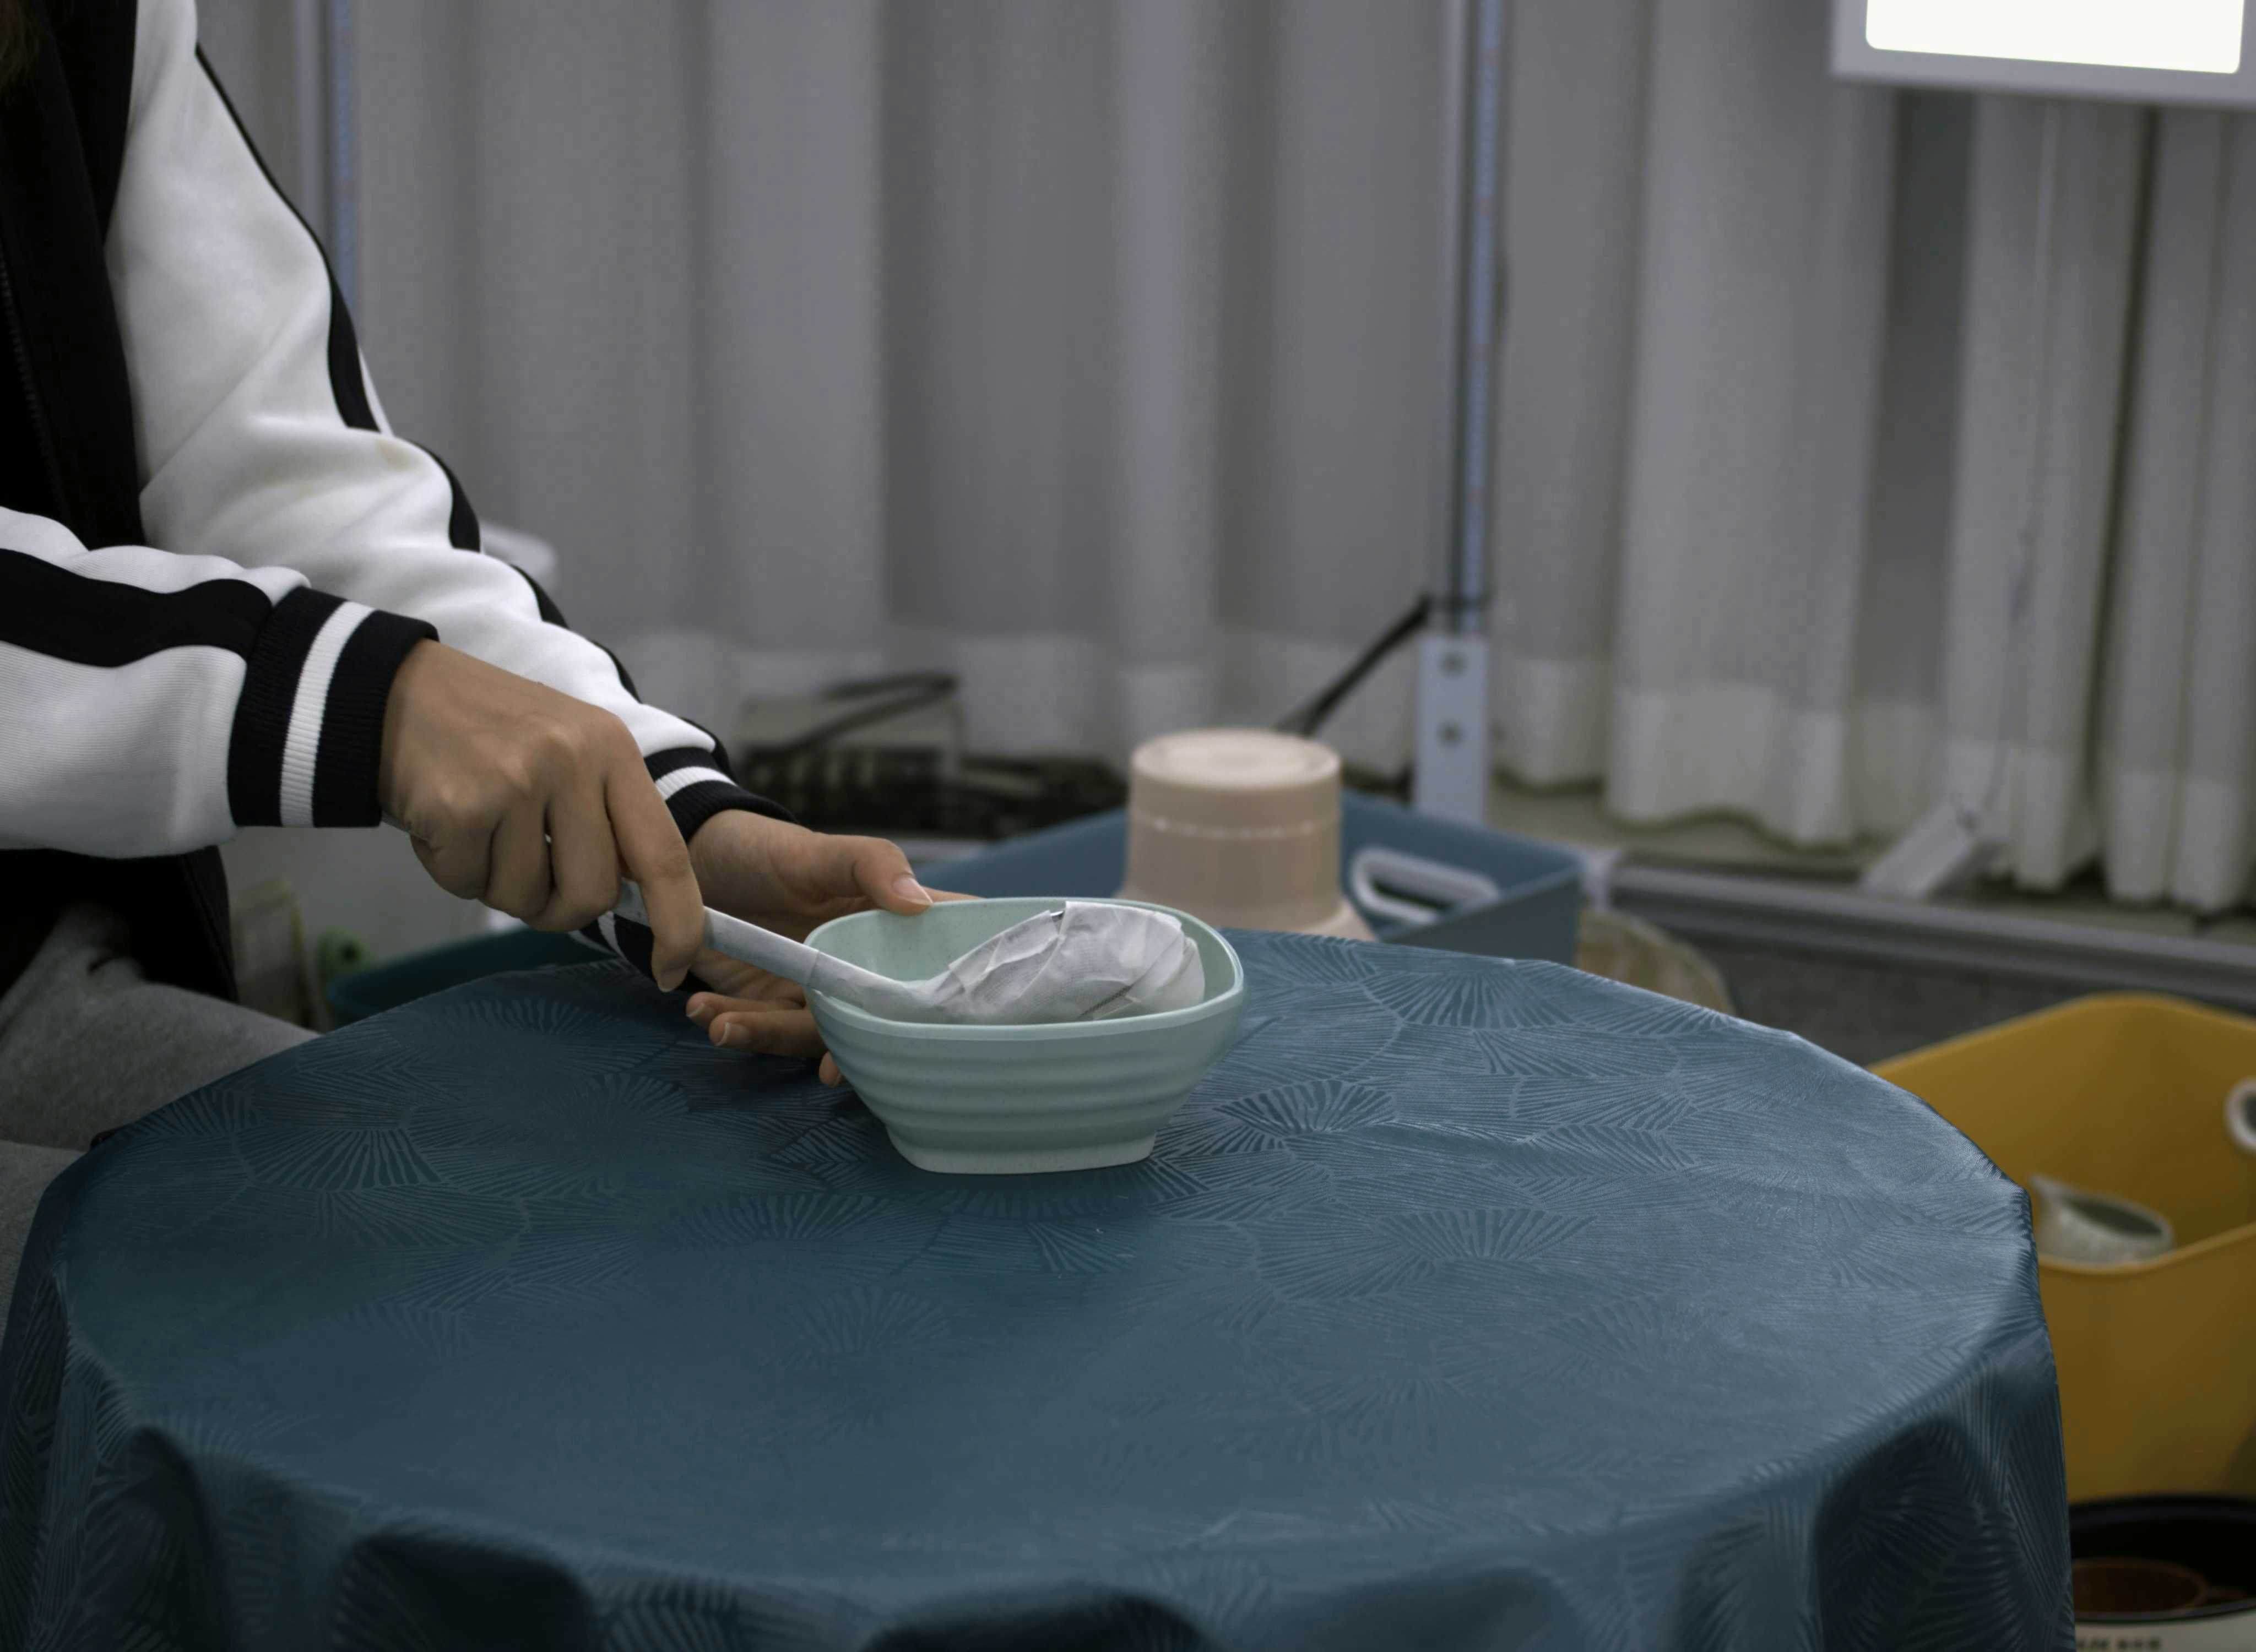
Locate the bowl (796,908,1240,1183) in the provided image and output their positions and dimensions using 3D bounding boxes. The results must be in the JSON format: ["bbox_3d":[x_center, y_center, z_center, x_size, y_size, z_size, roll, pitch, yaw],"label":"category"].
[{"bbox_3d":[-0.035,0.072,1.668,0.151,0.059,0.150,0,15,0],"label":"bowl"}]

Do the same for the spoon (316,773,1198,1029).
[{"bbox_3d":[-0.116,0.025,1.642,0.276,0.101,0.059,20,35,3],"label":"spoon"}]
